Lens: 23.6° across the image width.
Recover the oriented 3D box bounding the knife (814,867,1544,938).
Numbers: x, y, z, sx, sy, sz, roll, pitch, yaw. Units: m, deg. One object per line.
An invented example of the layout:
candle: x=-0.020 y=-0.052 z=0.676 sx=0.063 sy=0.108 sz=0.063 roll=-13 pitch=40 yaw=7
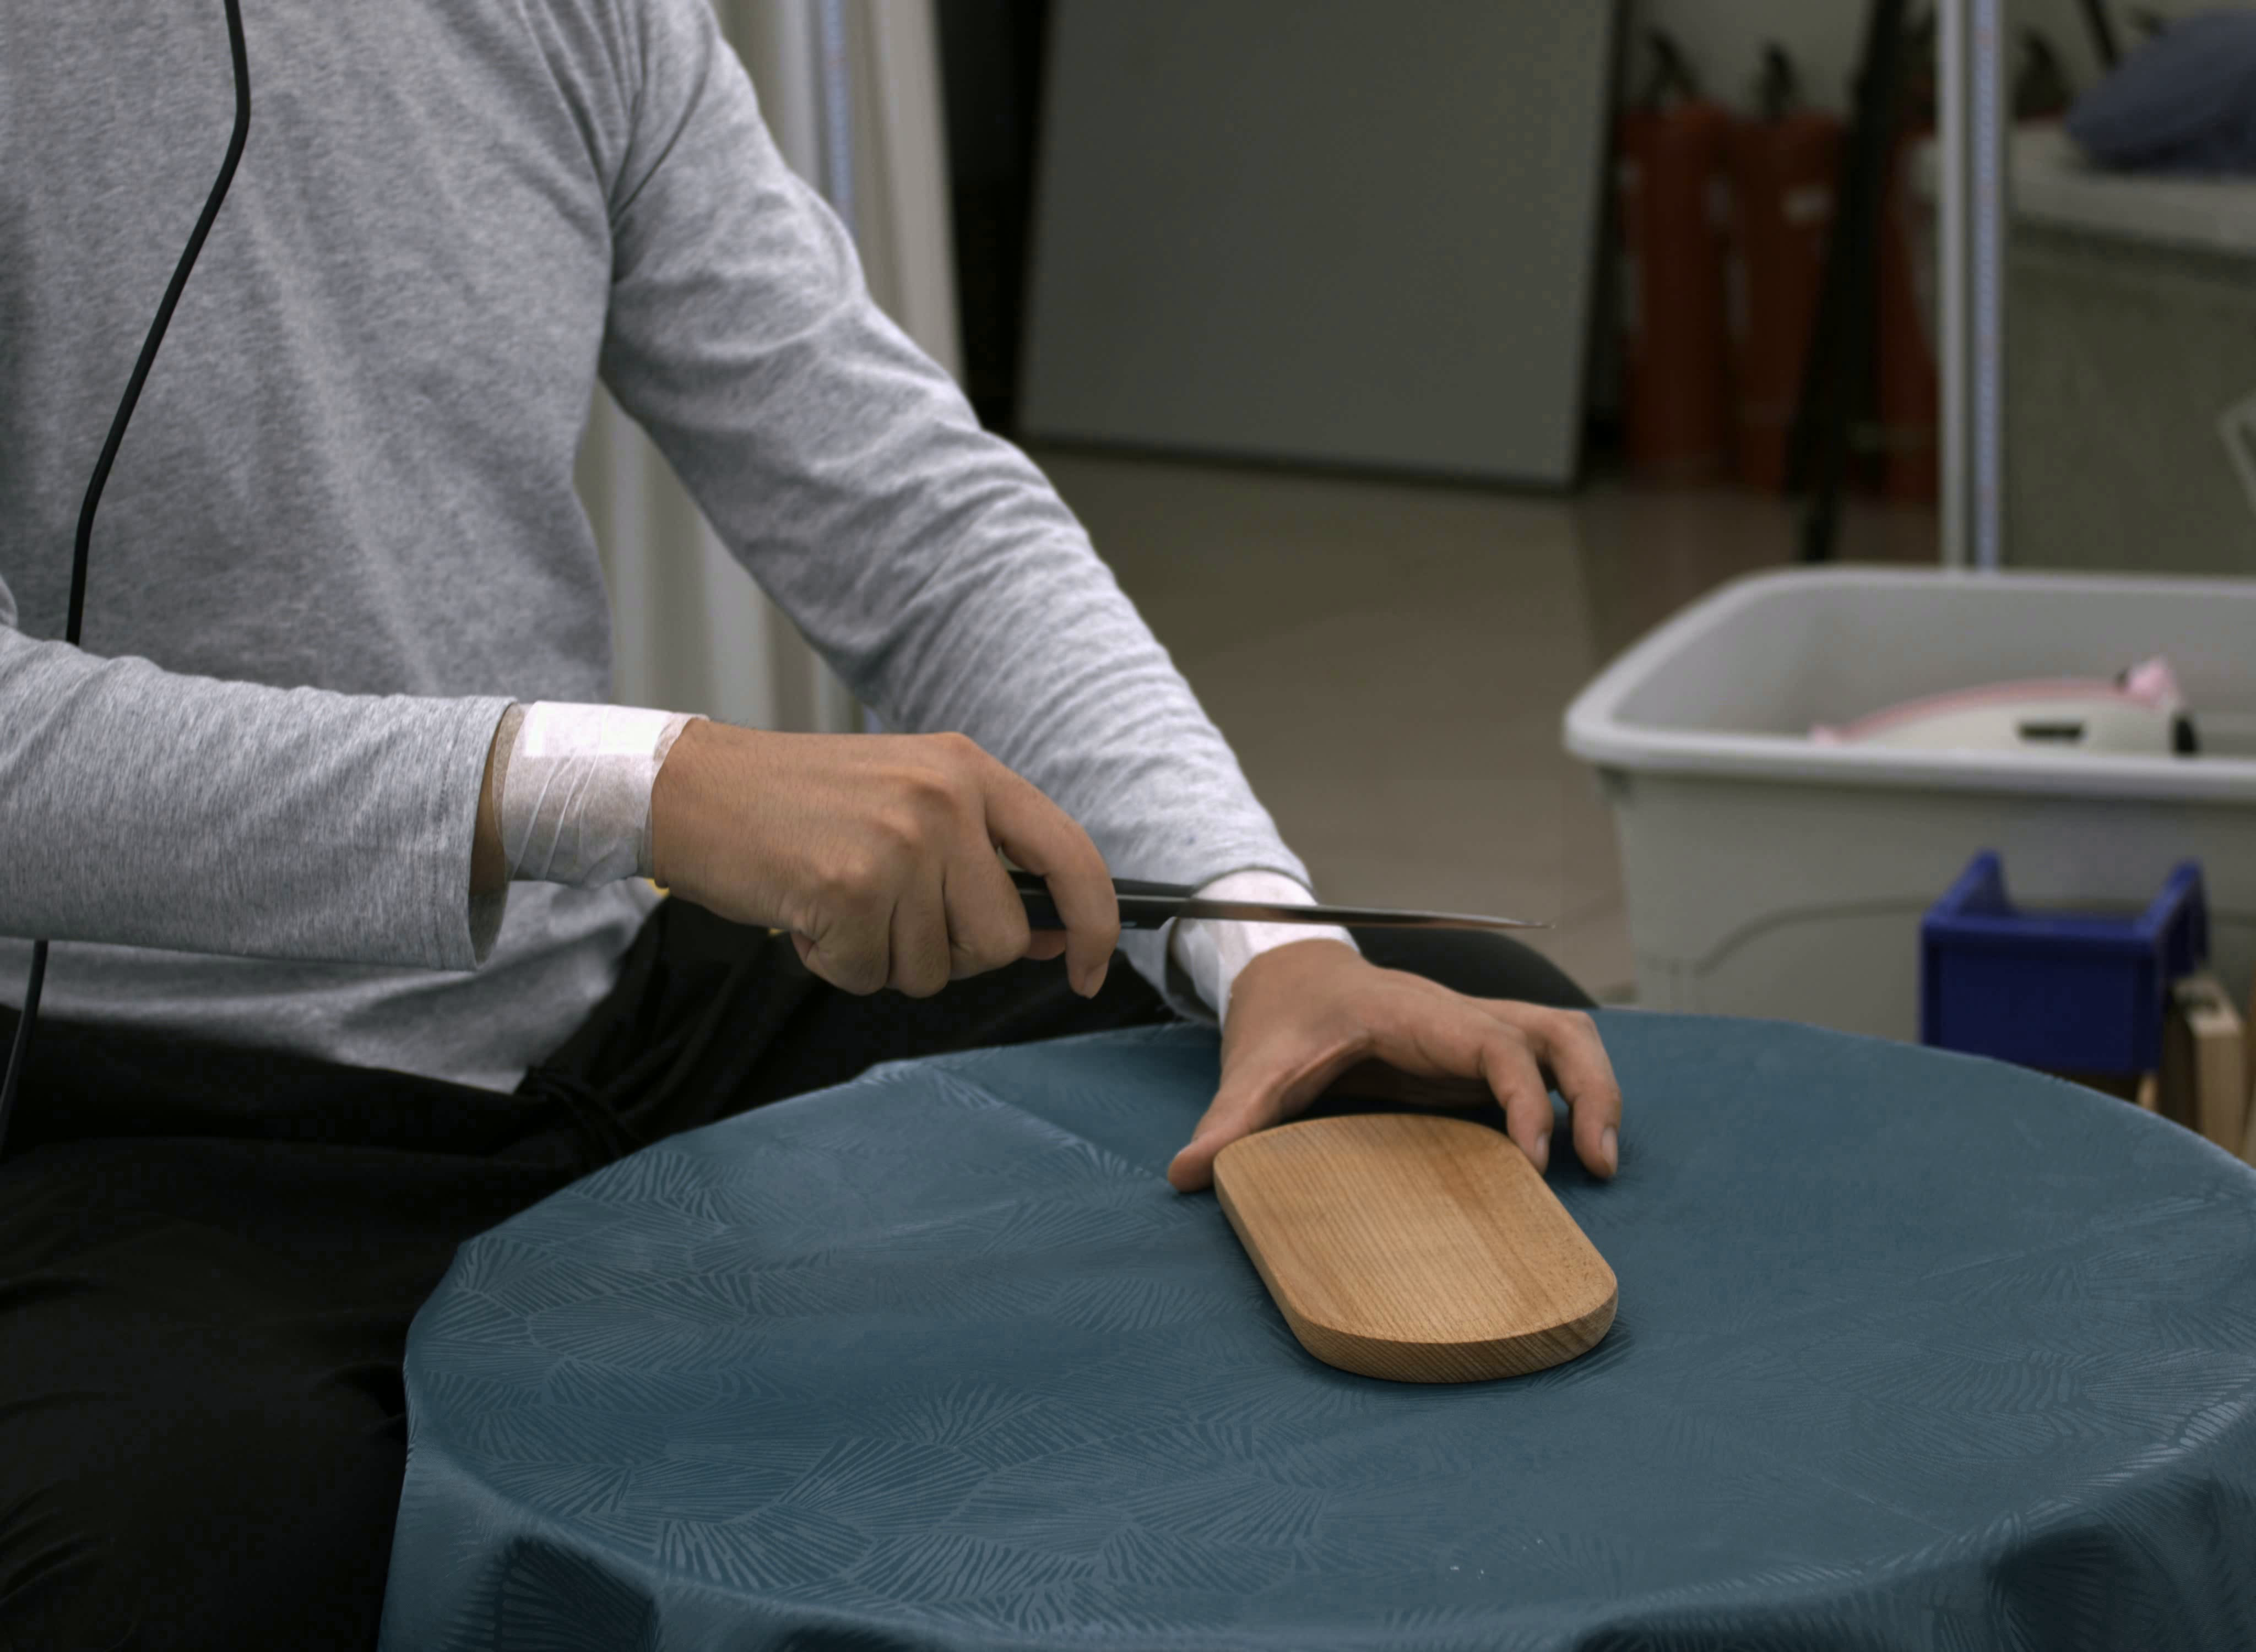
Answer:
knife: x=0.019 y=0.027 z=1.689 sx=0.234 sy=0.016 sz=0.024 roll=4 pitch=-16 yaw=-11

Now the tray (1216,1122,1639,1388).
tray: x=0.091 y=0.131 z=1.676 sx=0.100 sy=0.020 sz=0.232 roll=-9 pitch=15 yaw=-9
